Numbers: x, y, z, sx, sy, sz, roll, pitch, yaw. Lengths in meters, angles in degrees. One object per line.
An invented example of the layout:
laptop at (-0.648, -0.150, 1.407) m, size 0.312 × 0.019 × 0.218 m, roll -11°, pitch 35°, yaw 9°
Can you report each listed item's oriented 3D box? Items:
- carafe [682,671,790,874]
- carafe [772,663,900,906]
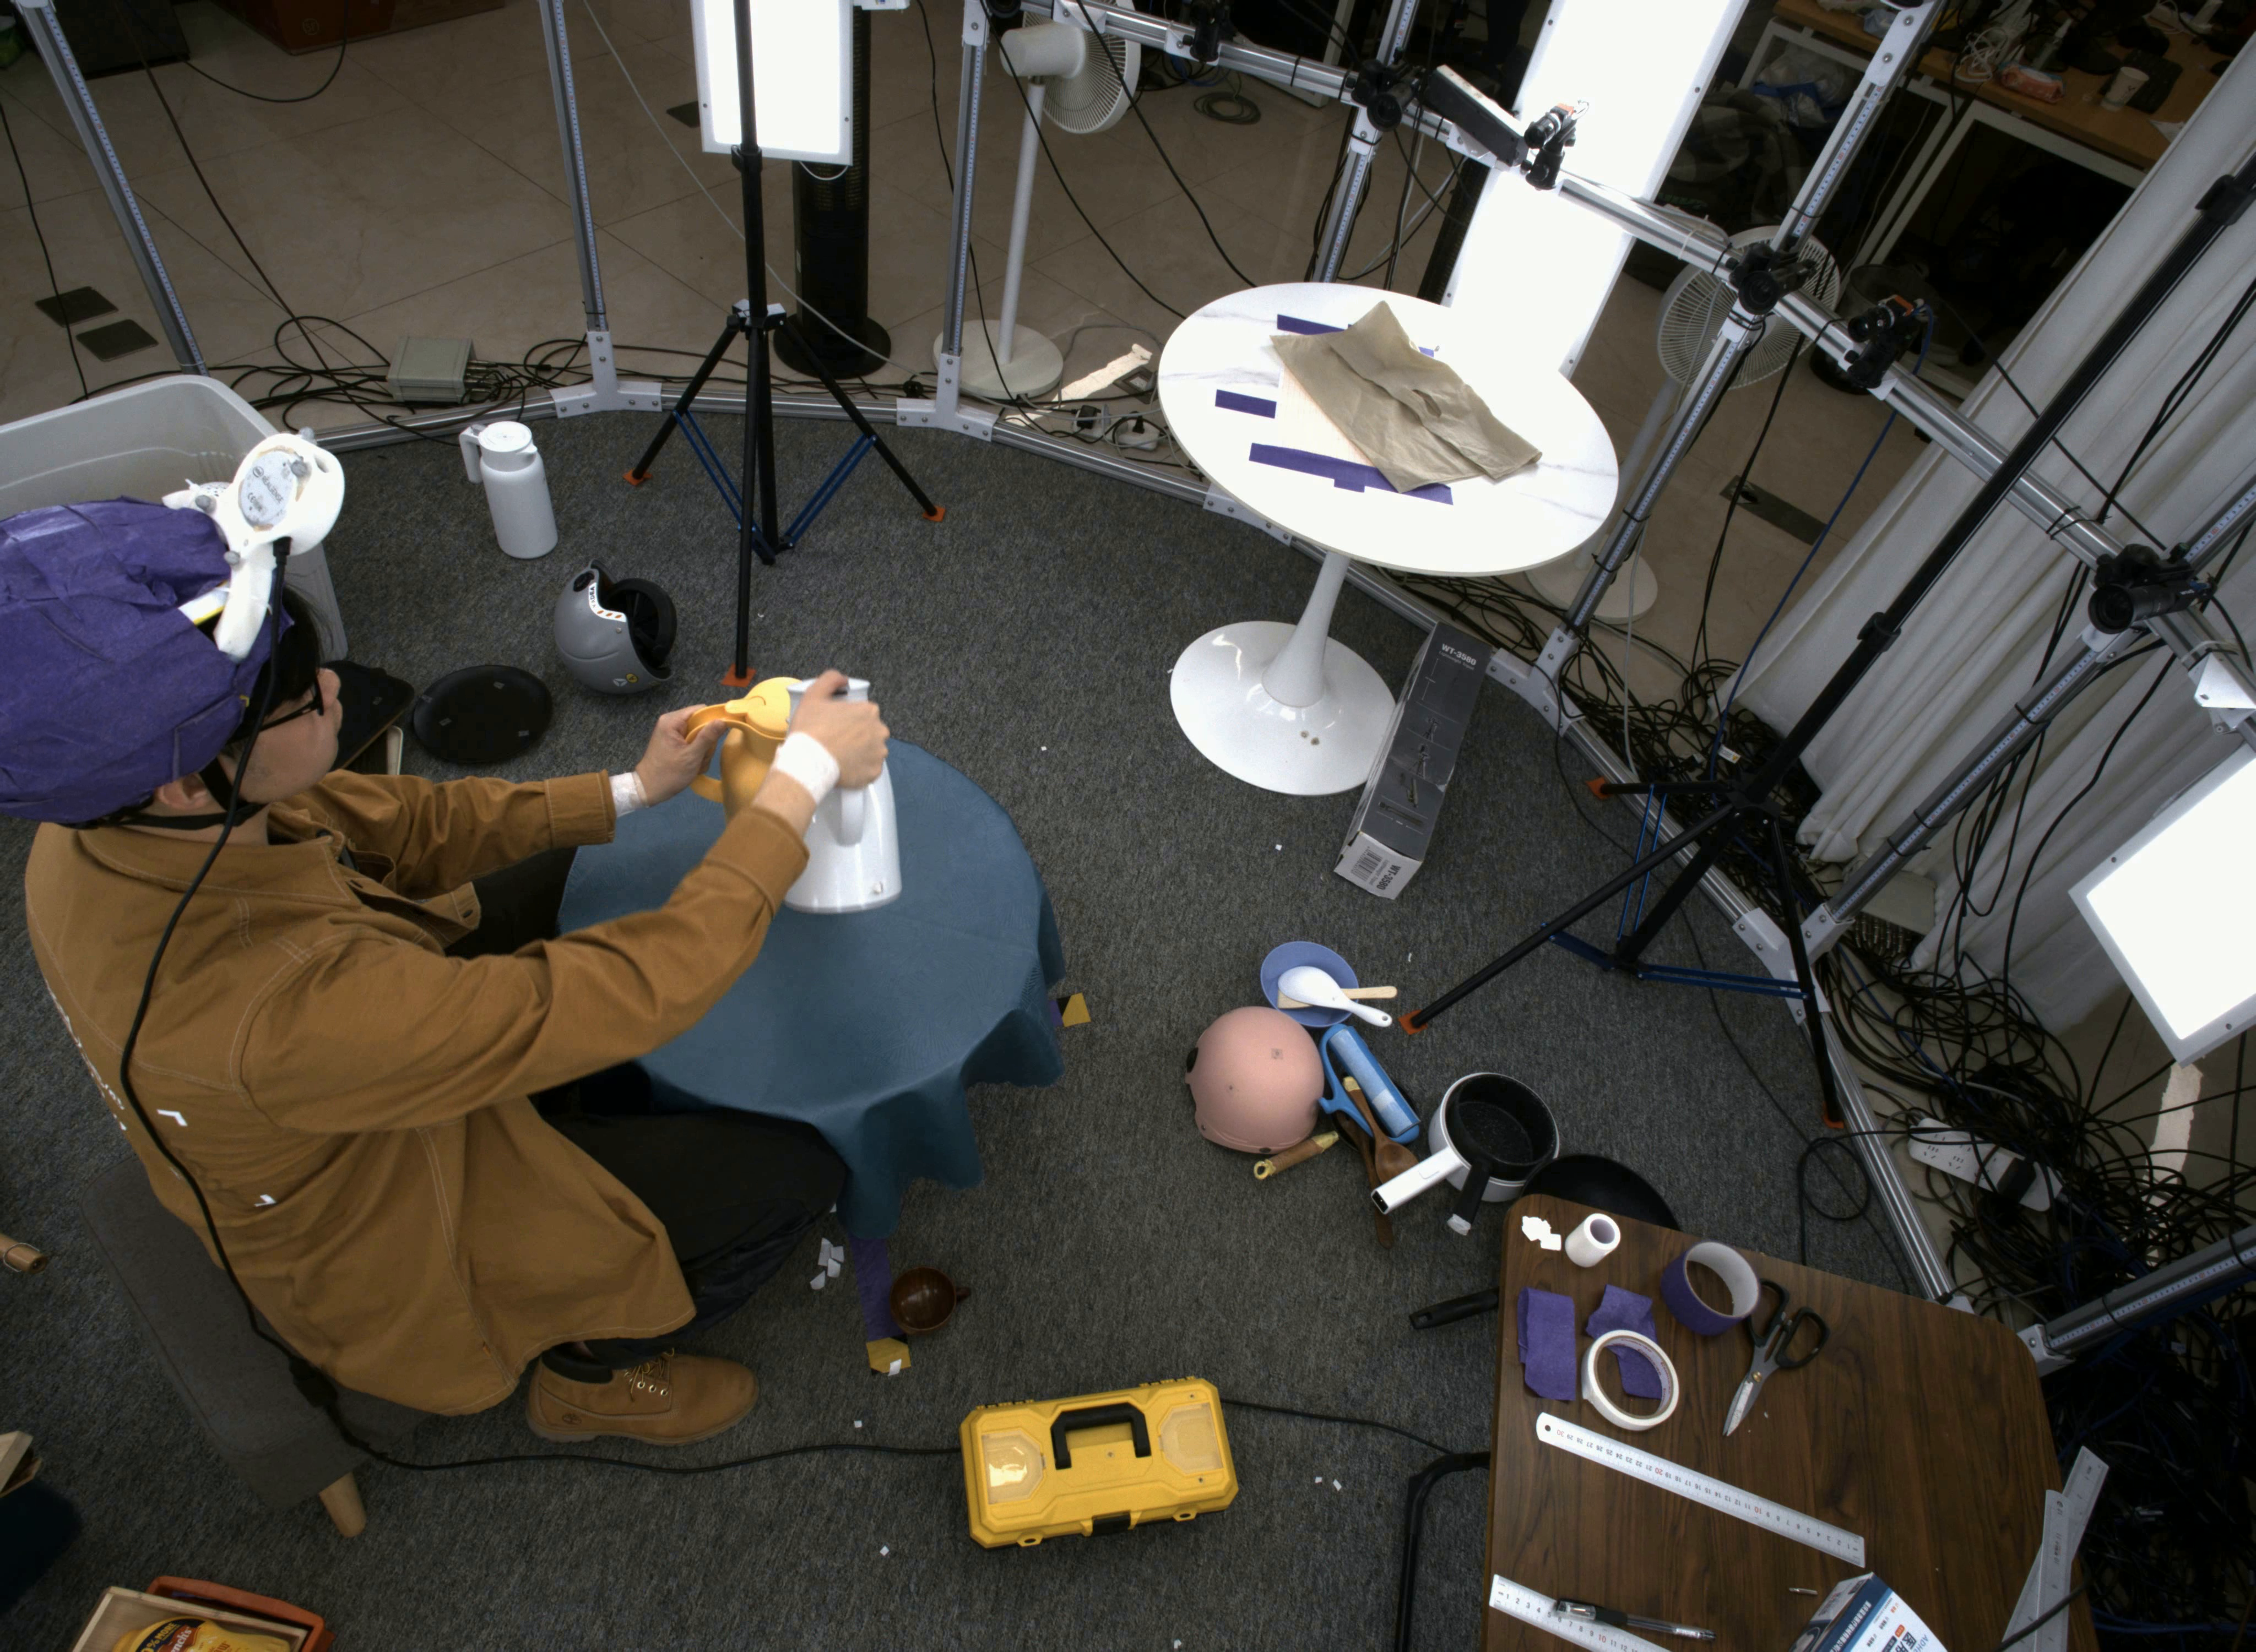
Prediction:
carafe at (-0.446, -0.073, 1.603) m, size 0.203 × 0.266 × 0.159 m, roll -2°, pitch 51°, yaw -16°
carafe at (-0.317, -0.048, 1.404) m, size 0.133 × 0.254 × 0.162 m, roll -8°, pitch 14°, yaw -23°
